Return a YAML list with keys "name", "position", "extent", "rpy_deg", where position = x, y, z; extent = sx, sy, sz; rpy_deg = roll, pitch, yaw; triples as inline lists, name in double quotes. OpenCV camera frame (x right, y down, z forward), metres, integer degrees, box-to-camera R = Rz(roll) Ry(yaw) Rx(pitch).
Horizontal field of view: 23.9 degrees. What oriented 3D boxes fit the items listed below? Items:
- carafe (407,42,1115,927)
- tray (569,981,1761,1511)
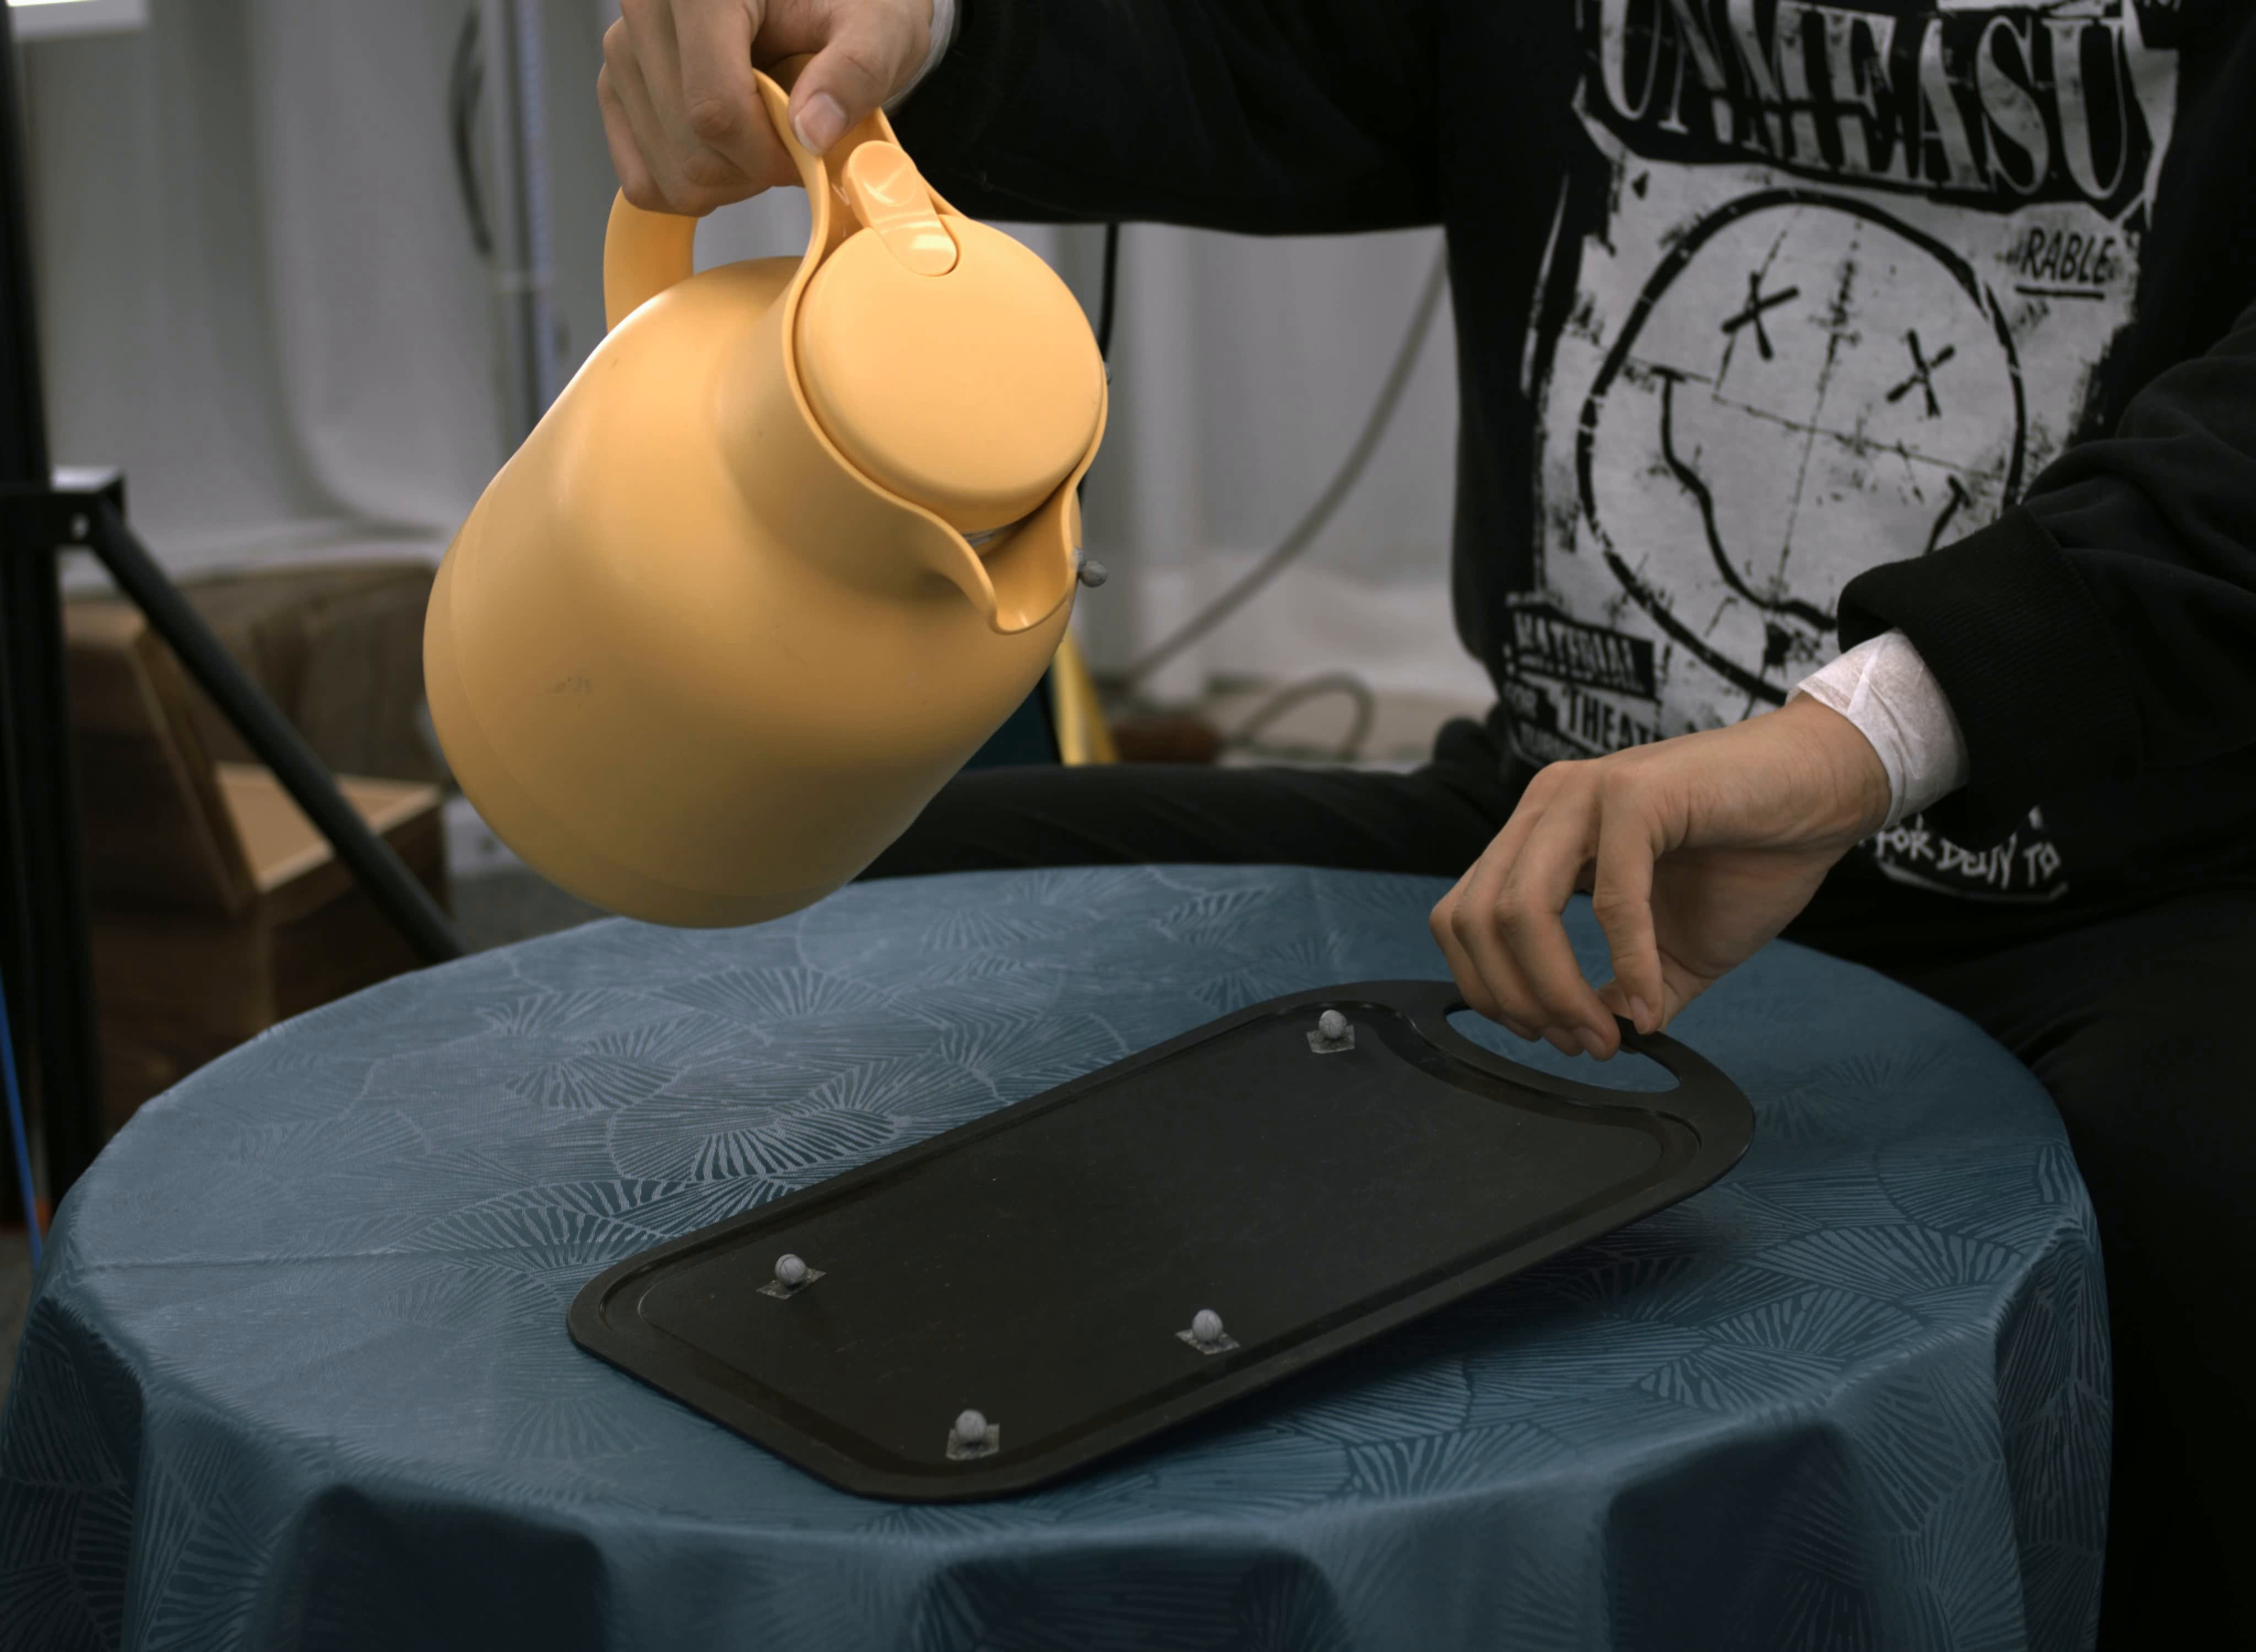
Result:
- name: "carafe"
  position: [-0.103, -0.101, 1.553]
  extent: [0.159, 0.205, 0.263]
  rpy_deg: [-8, -18, -32]
- name: "tray"
  position: [0.017, 0.106, 1.479]
  extent: [0.319, 0.010, 0.216]
  rpy_deg: [-20, 23, -29]
